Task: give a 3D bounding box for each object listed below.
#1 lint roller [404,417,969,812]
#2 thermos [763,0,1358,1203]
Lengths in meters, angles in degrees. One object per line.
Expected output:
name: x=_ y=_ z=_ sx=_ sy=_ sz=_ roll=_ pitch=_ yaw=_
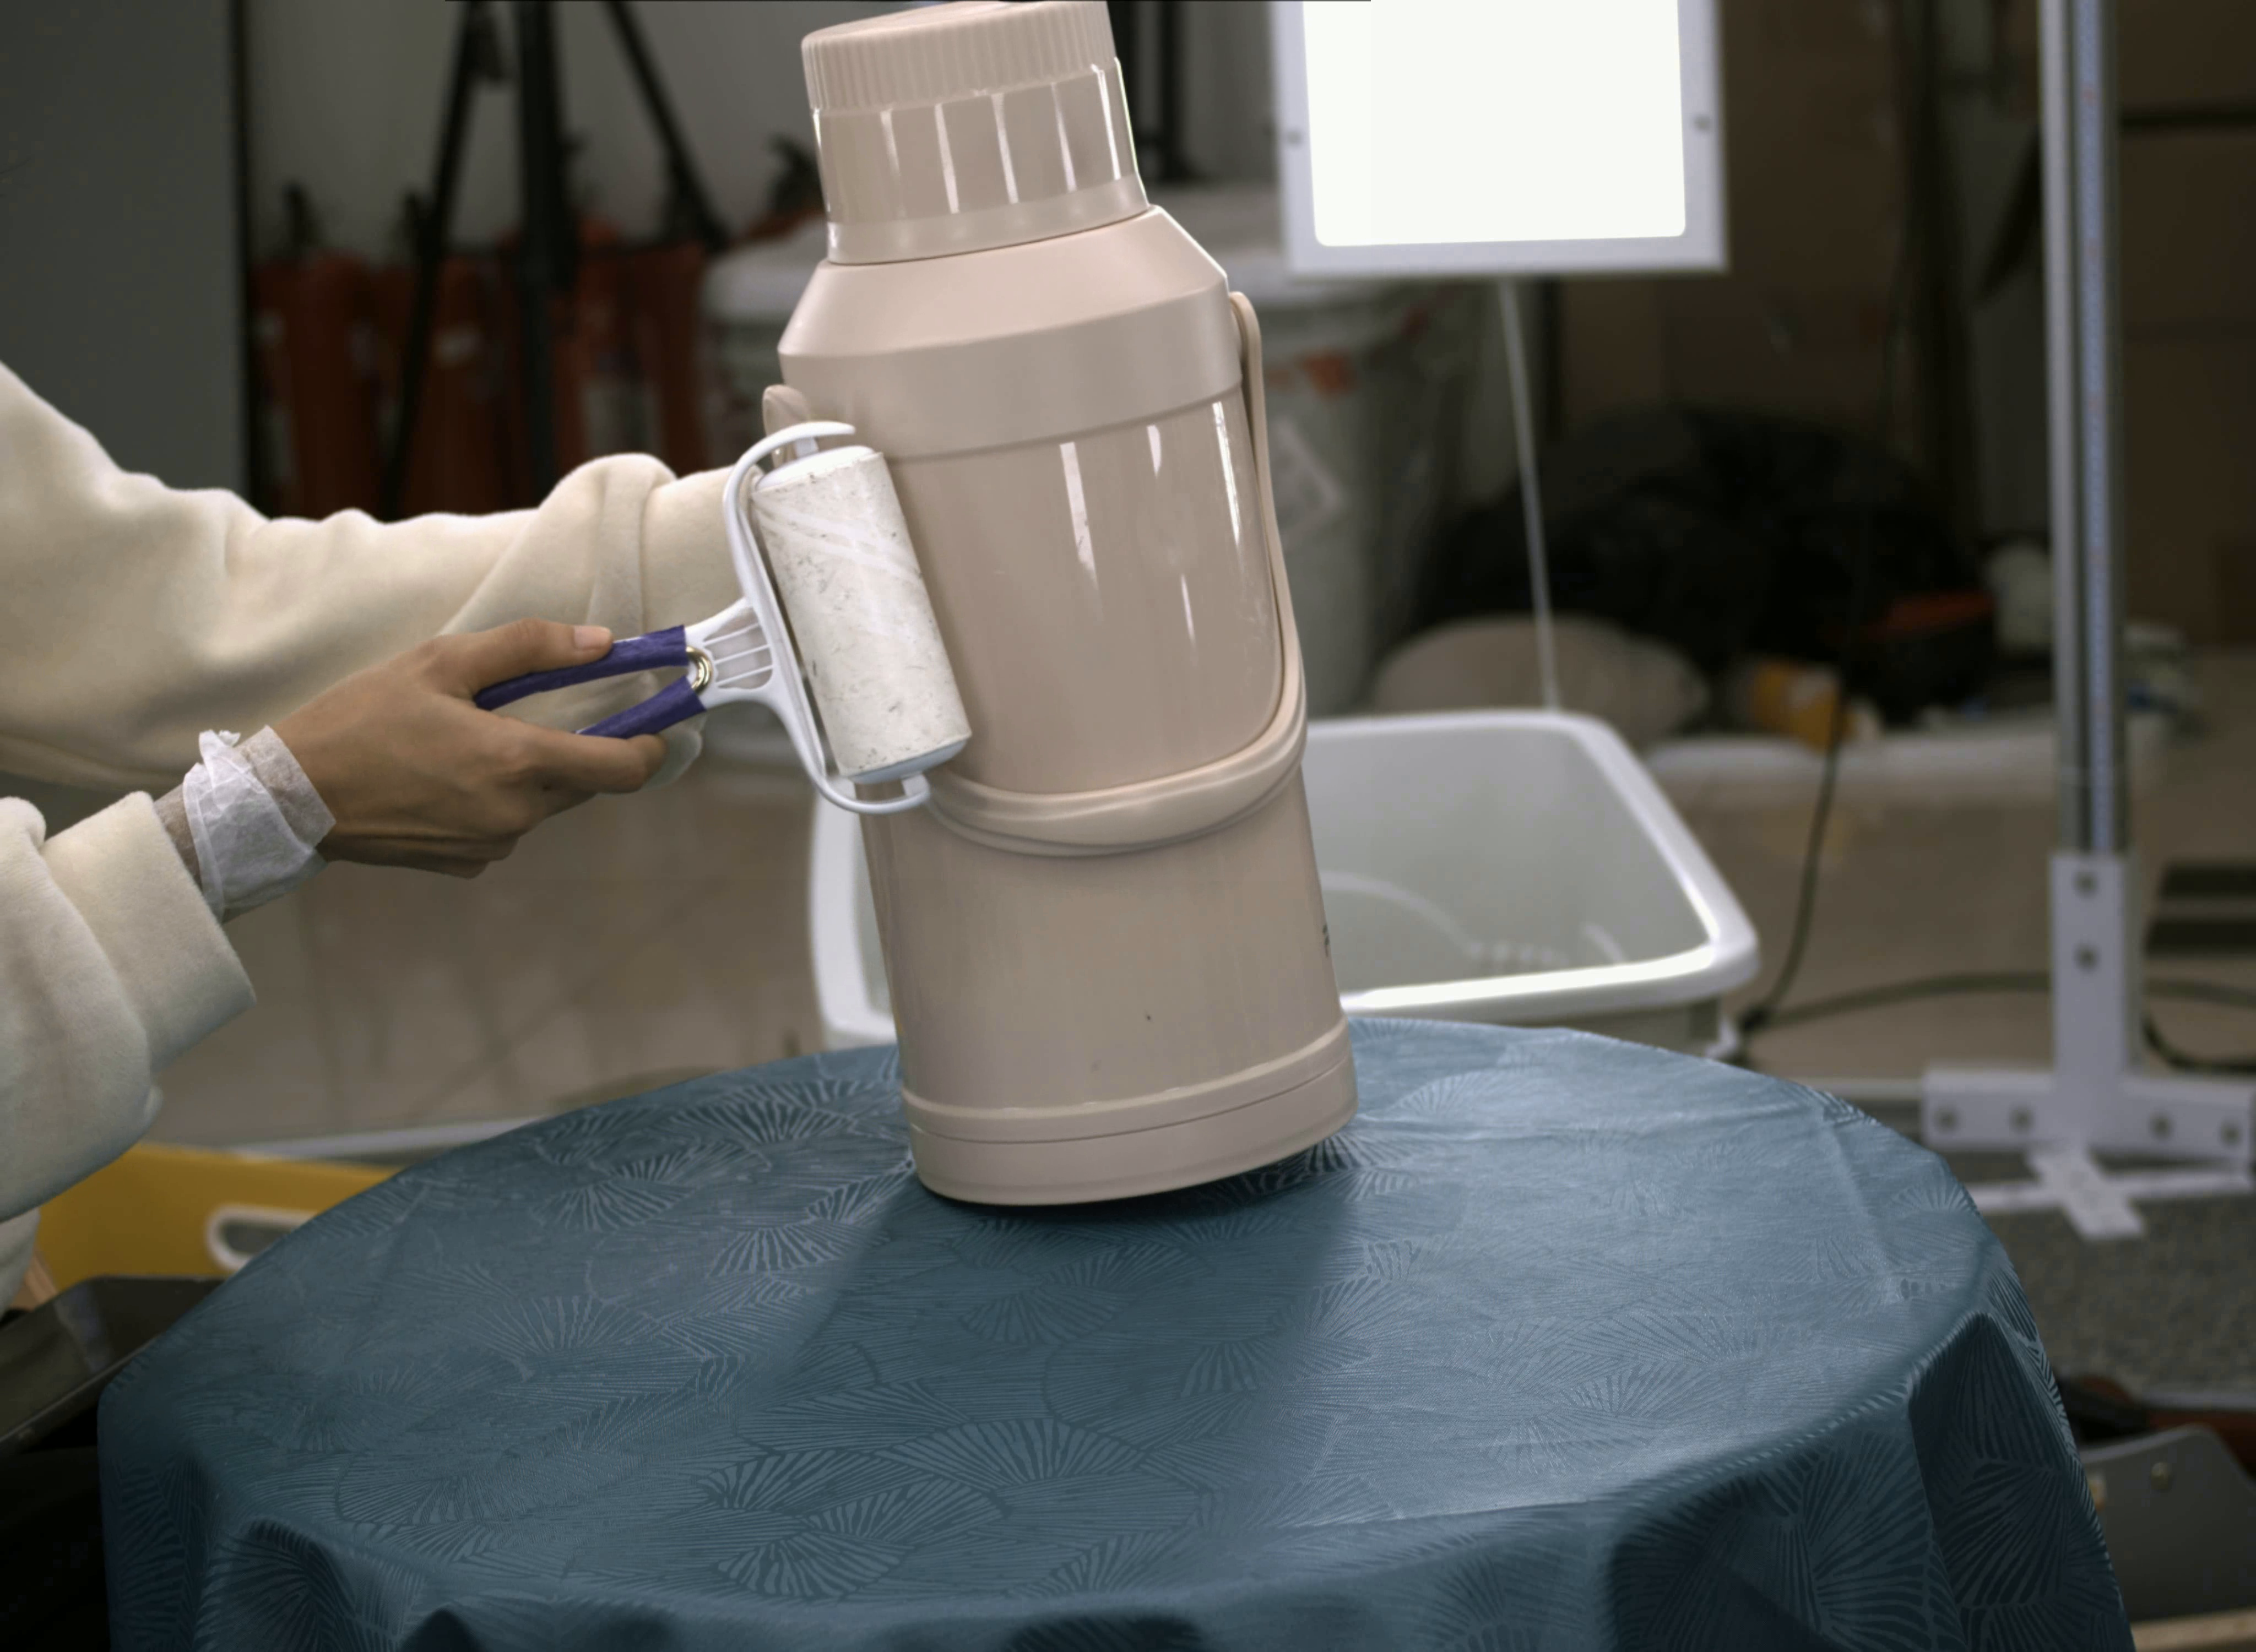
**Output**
lint roller: x=-0.151 y=-0.052 z=1.813 sx=0.179 sy=0.133 sz=0.050 roll=-17 pitch=4 yaw=-8
thermos: x=-0.031 y=-0.084 z=1.911 sx=0.172 sy=0.407 sz=0.210 roll=-14 pitch=12 yaw=-17
